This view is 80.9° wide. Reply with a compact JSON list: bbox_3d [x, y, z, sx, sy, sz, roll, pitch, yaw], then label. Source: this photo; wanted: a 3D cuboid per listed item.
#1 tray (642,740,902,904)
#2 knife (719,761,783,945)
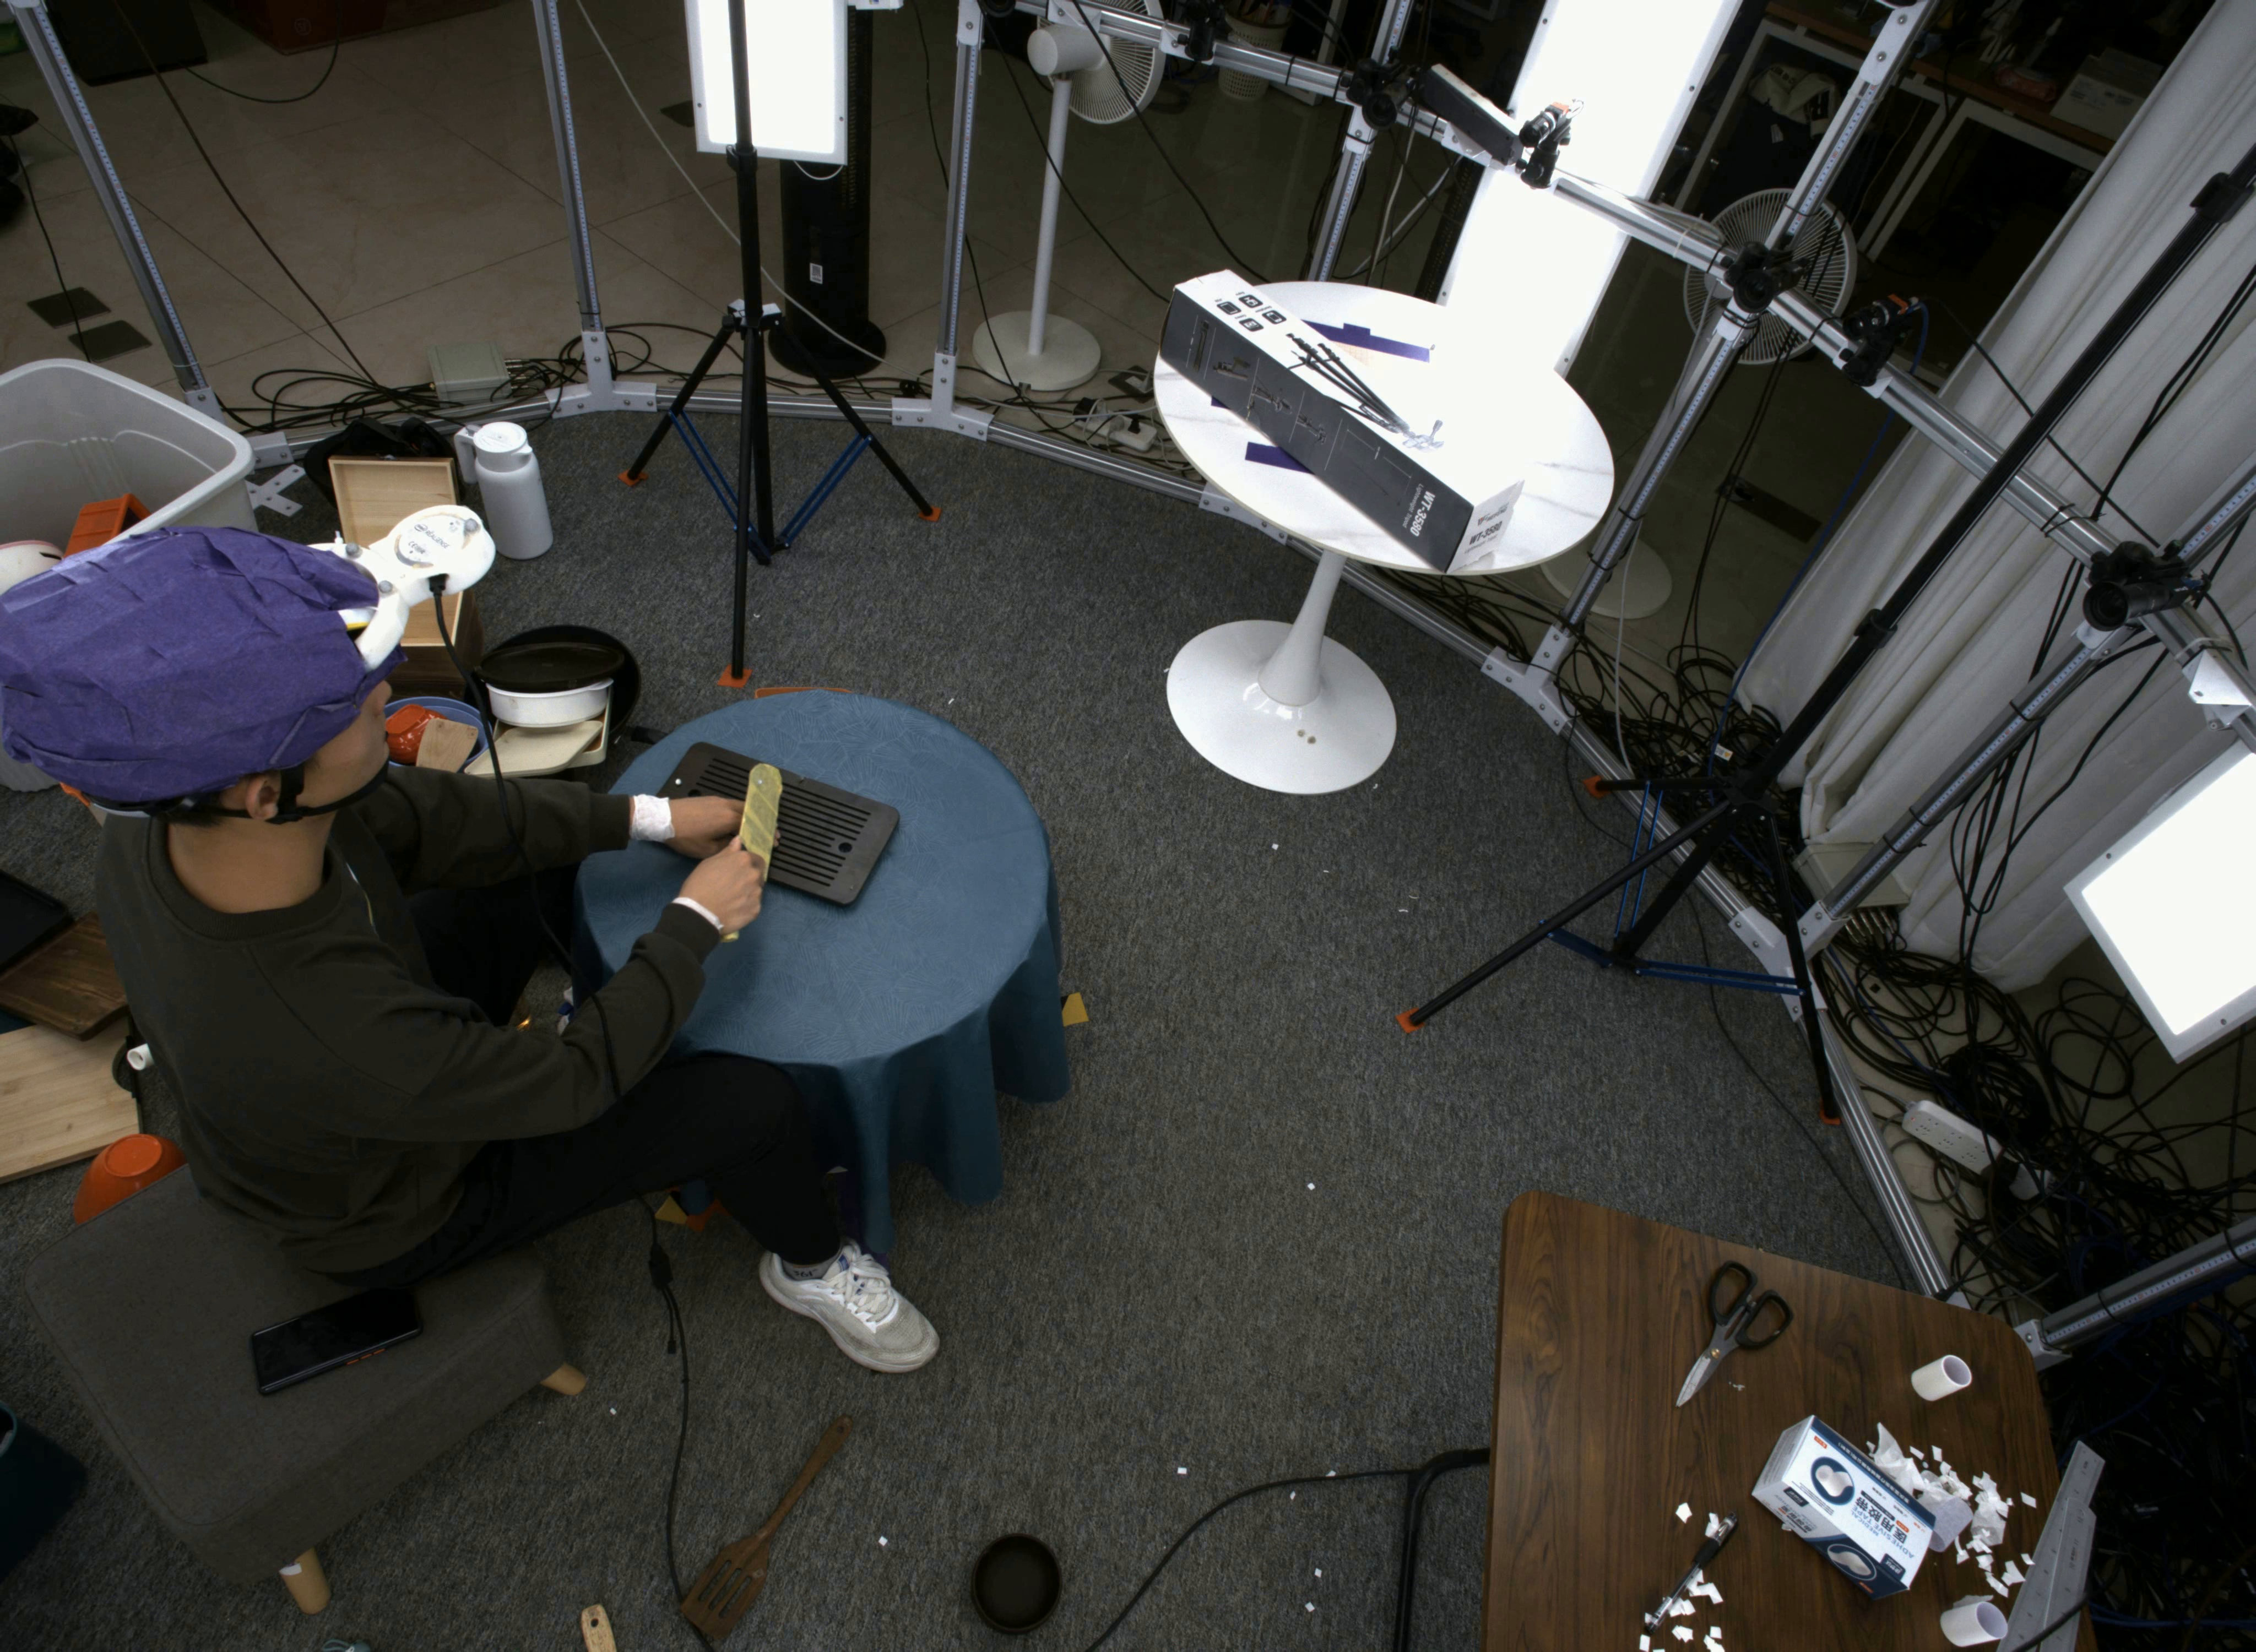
[{"bbox_3d":[-0.470,-0.007,1.717,0.303,0.019,0.168,19,52,1],"label":"tray"},{"bbox_3d":[-0.466,0.030,1.613,0.026,0.084,0.284,-11,50,16],"label":"knife"}]
